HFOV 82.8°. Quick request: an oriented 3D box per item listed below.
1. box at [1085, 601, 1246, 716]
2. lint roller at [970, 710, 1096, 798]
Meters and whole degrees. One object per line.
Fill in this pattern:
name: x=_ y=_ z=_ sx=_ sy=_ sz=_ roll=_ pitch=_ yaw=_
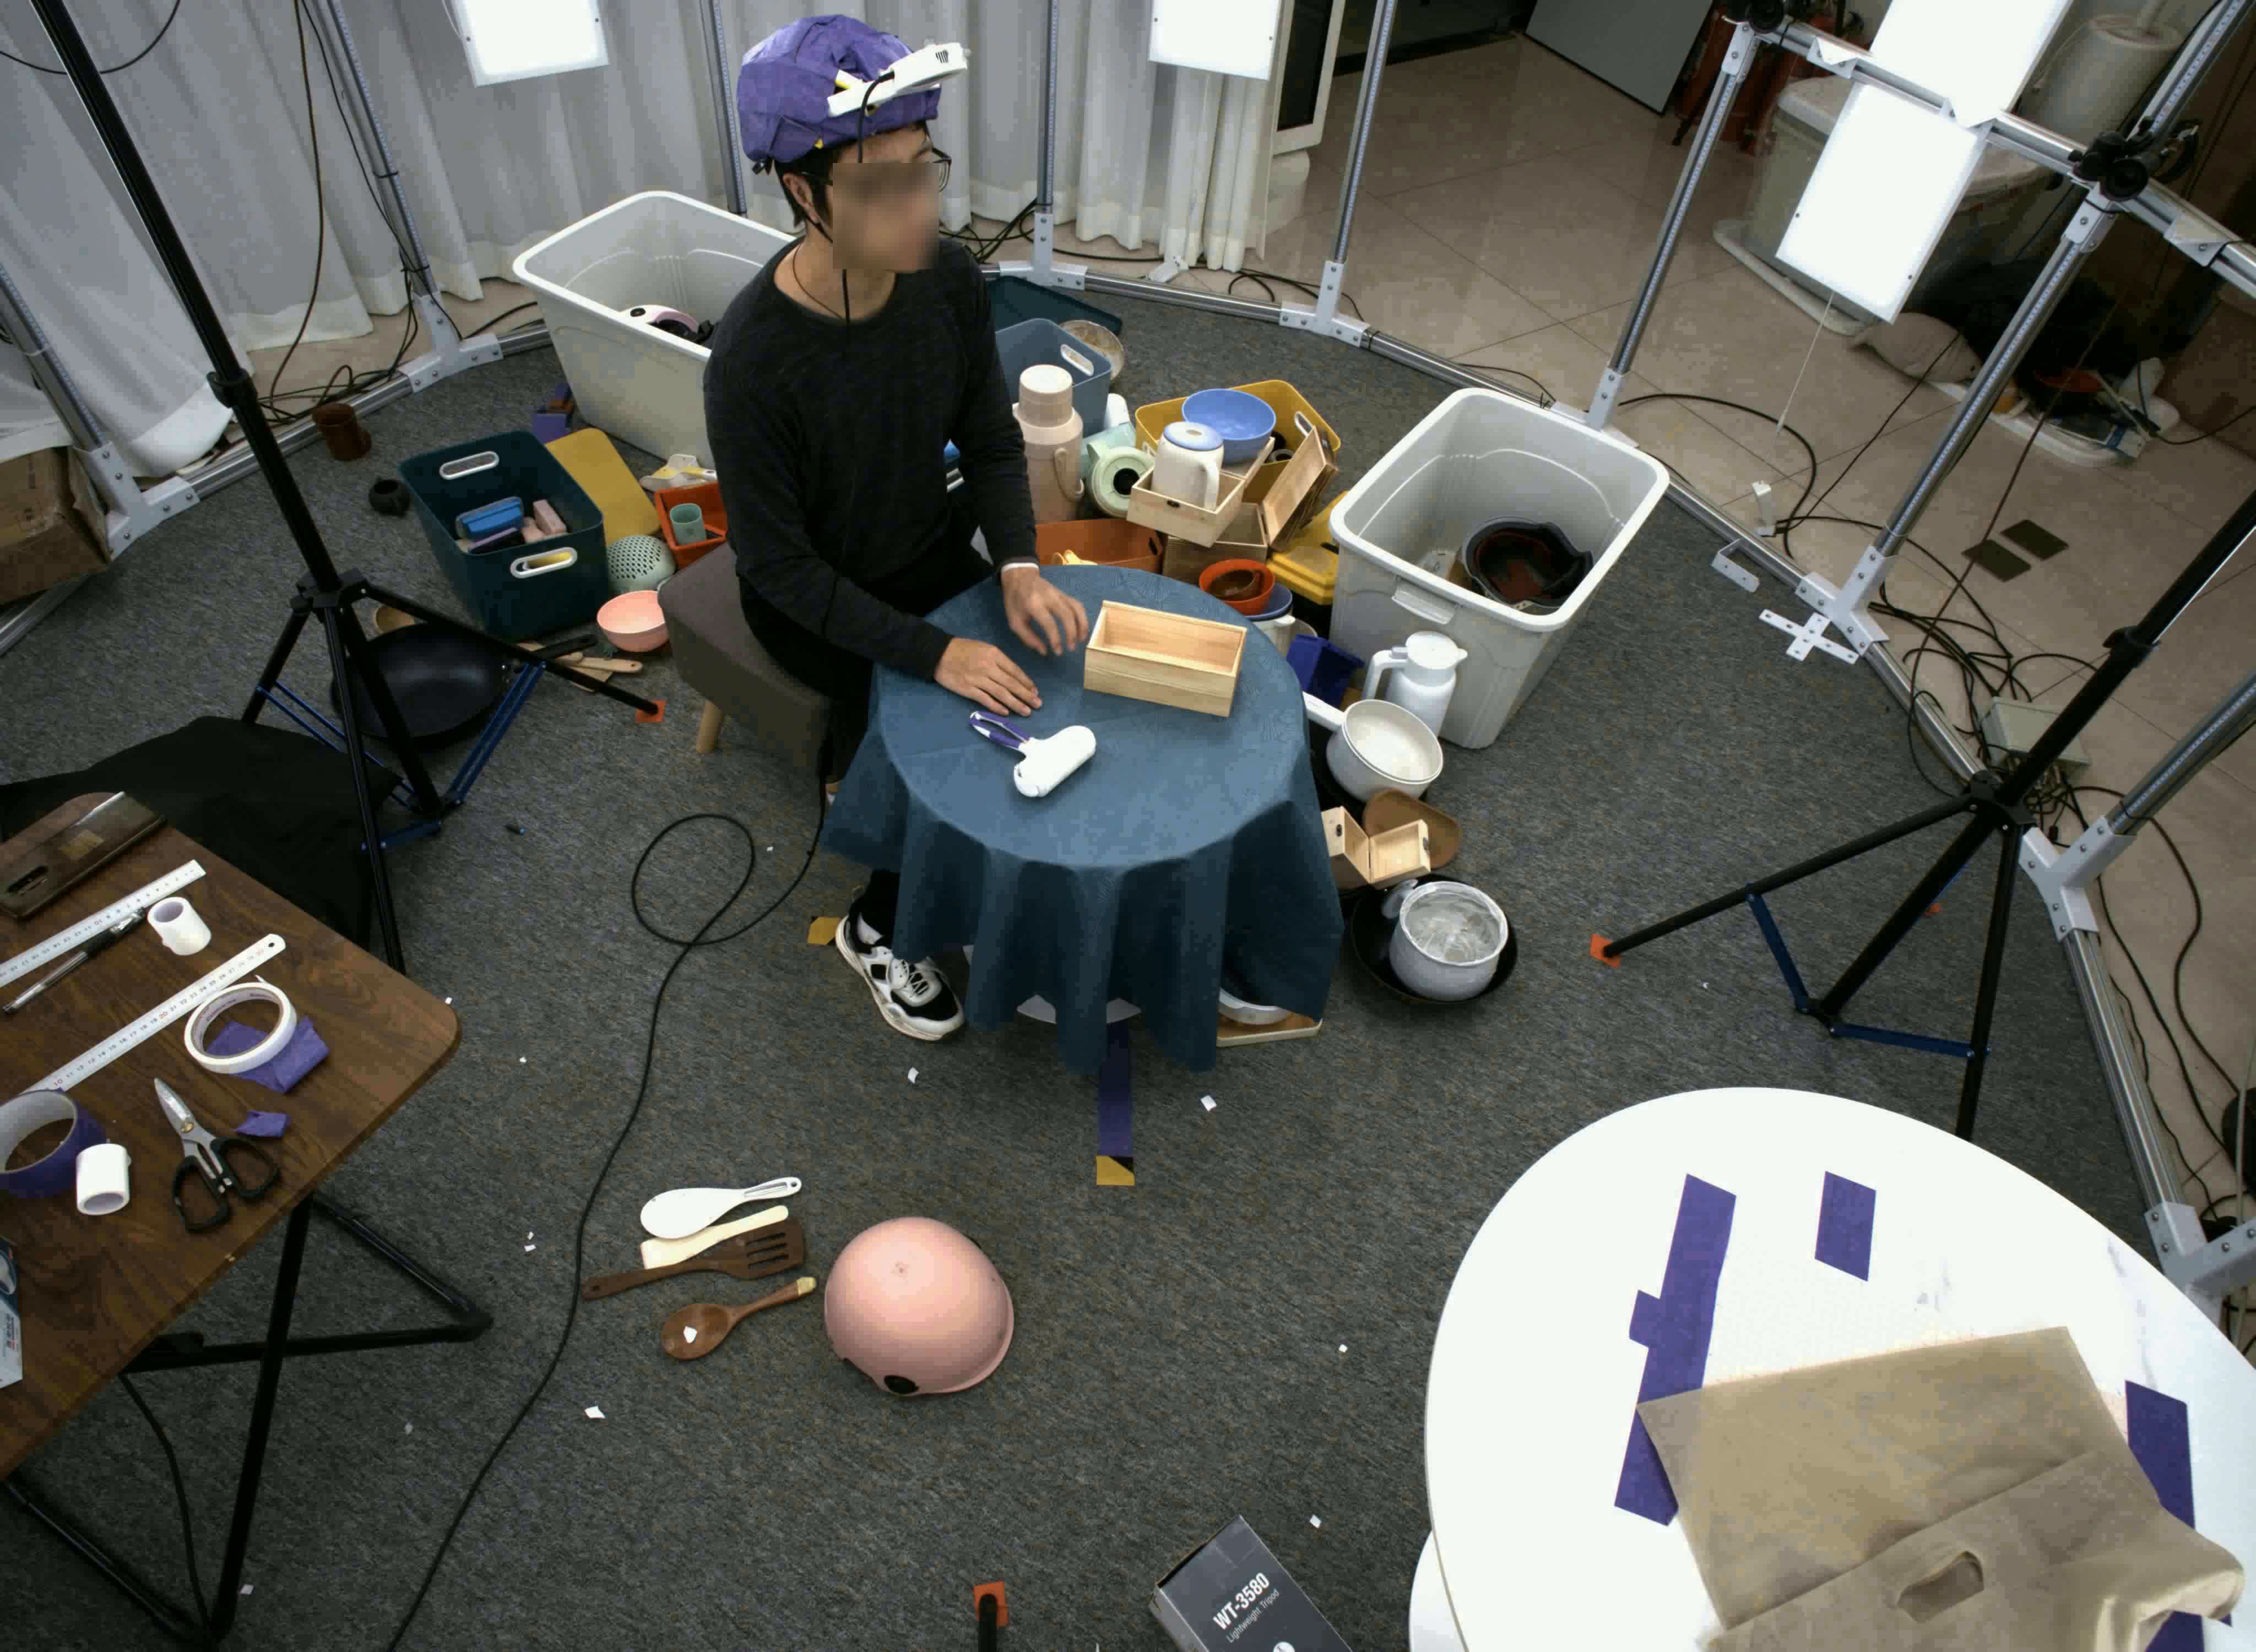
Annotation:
box: x=0.053 y=-0.239 z=1.829 sx=0.212 sy=0.078 sz=0.110 roll=11 pitch=50 yaw=7
lint roller: x=-0.144 y=-0.121 z=1.735 sx=0.183 sy=0.049 sz=0.134 roll=36 pitch=57 yaw=22
